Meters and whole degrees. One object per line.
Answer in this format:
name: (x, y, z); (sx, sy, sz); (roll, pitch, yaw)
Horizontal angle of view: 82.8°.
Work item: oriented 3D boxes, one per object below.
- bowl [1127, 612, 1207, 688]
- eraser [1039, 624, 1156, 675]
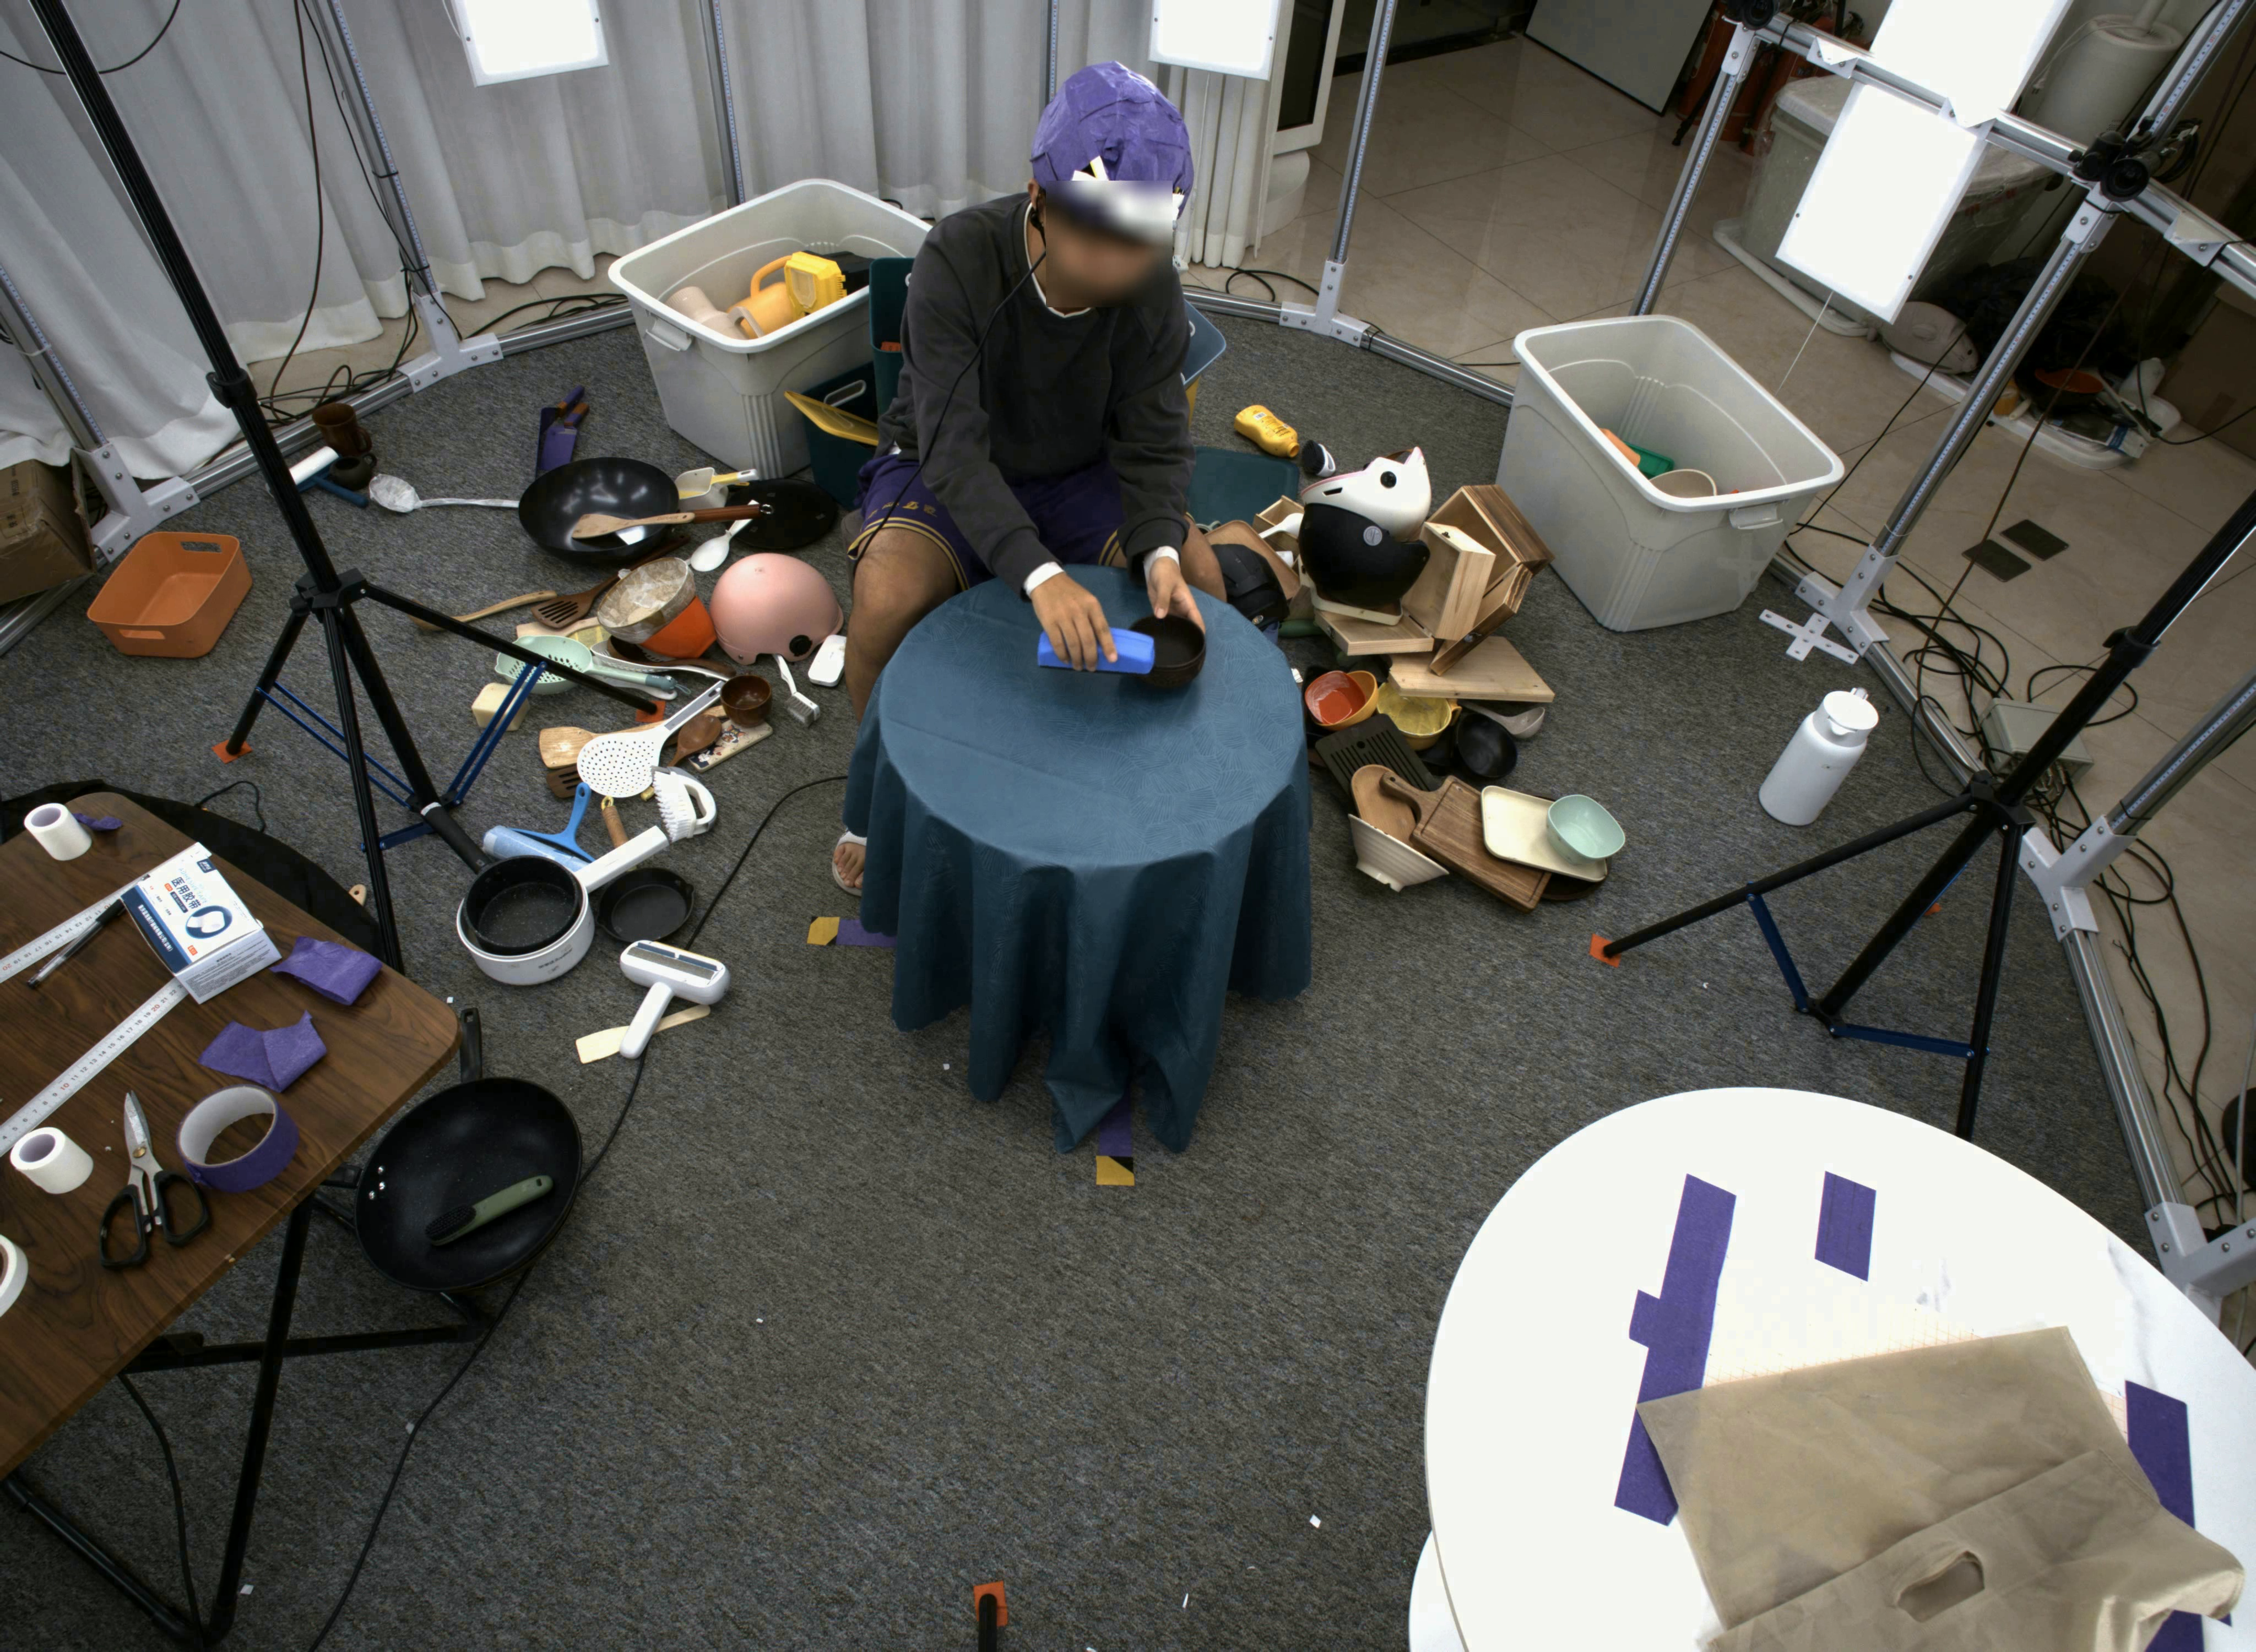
bowl: (0.053, -0.243, 1.833); (0.118, 0.068, 0.121); (1, 48, -1)
eraser: (-0.043, -0.245, 1.766); (0.162, 0.046, 0.055); (5, 51, 9)
